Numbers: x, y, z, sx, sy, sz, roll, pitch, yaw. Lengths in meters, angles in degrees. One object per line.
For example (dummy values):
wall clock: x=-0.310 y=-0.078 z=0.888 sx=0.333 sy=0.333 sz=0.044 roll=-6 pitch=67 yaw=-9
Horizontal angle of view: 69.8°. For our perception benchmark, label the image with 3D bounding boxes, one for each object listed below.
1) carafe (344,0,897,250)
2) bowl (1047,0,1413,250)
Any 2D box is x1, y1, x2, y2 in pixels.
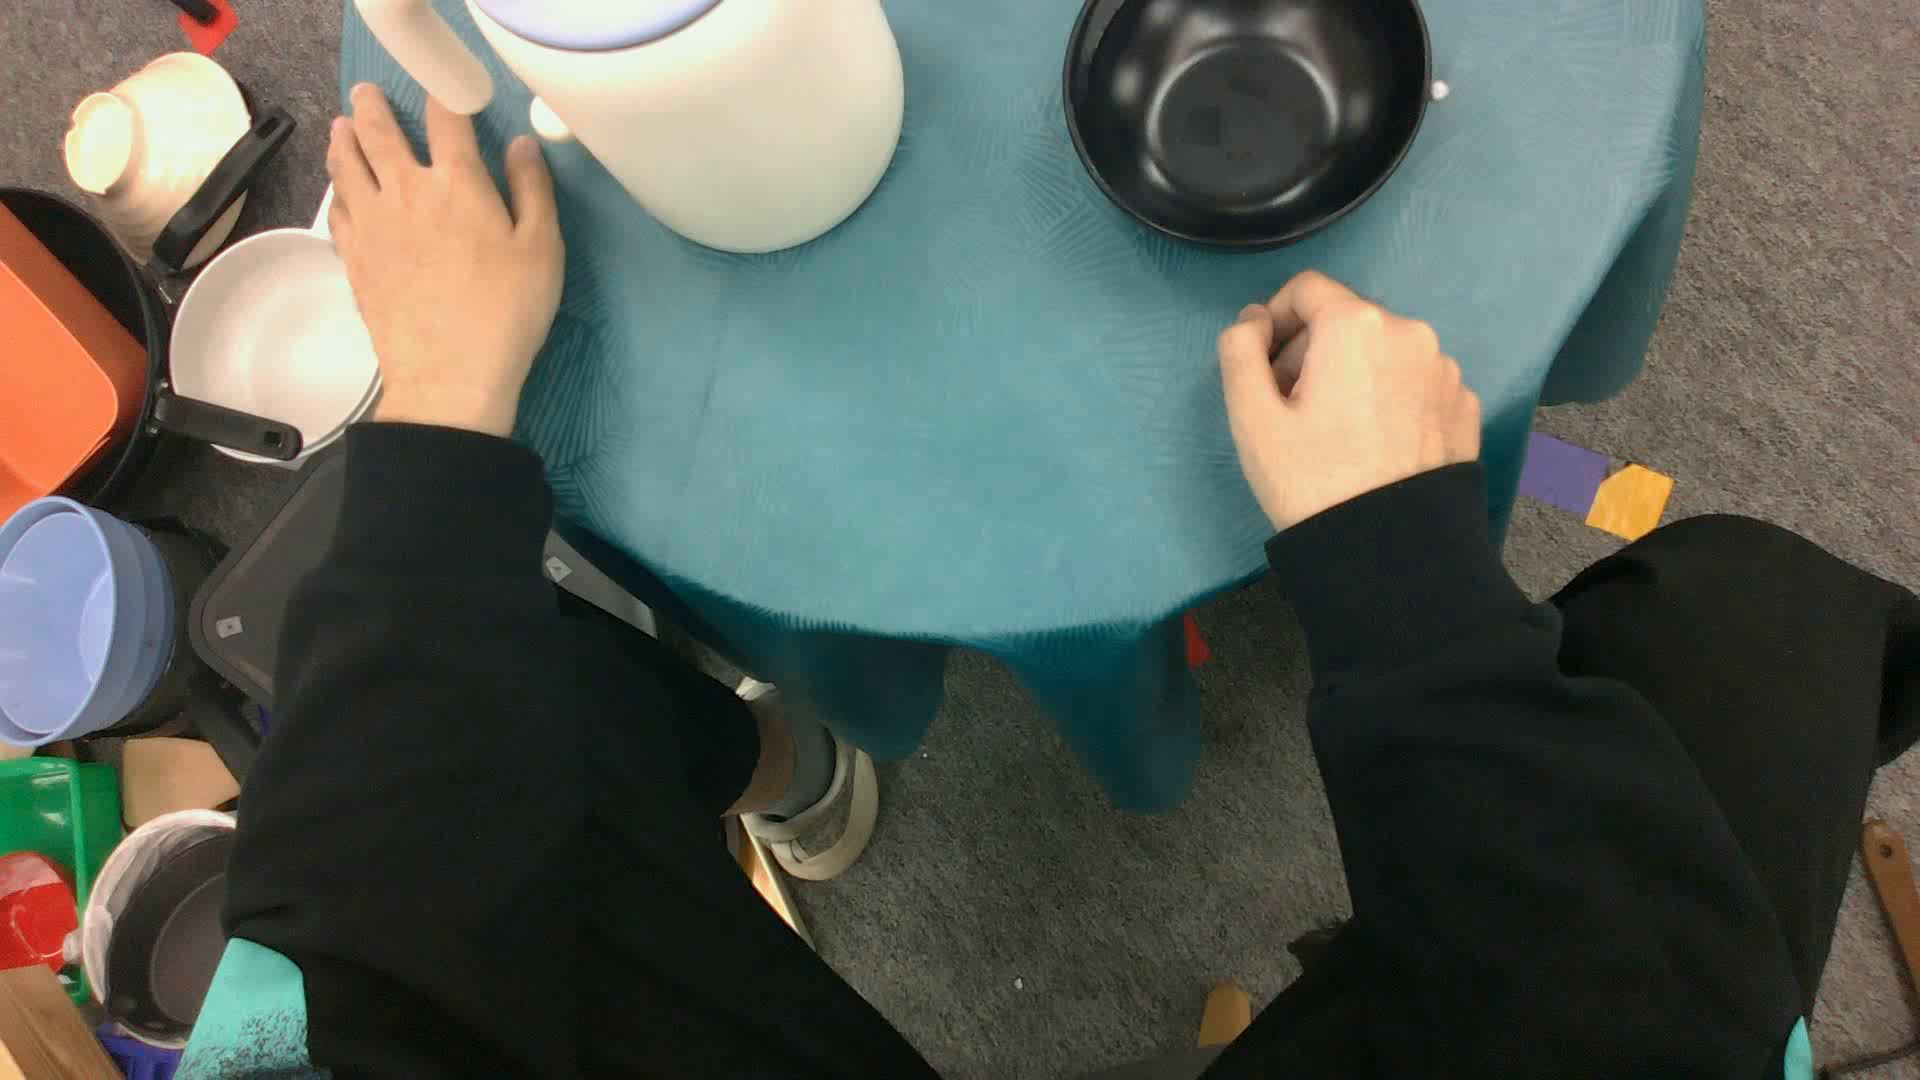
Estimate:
carafe: x=-0.127 y=-0.197 z=0.528 sx=0.191 sy=0.182 sz=0.132 roll=-8 pitch=78 yaw=9
bowl: x=0.107 y=-0.178 z=0.553 sx=0.140 sy=0.050 sz=0.140 roll=-1 pitch=82 yaw=9
